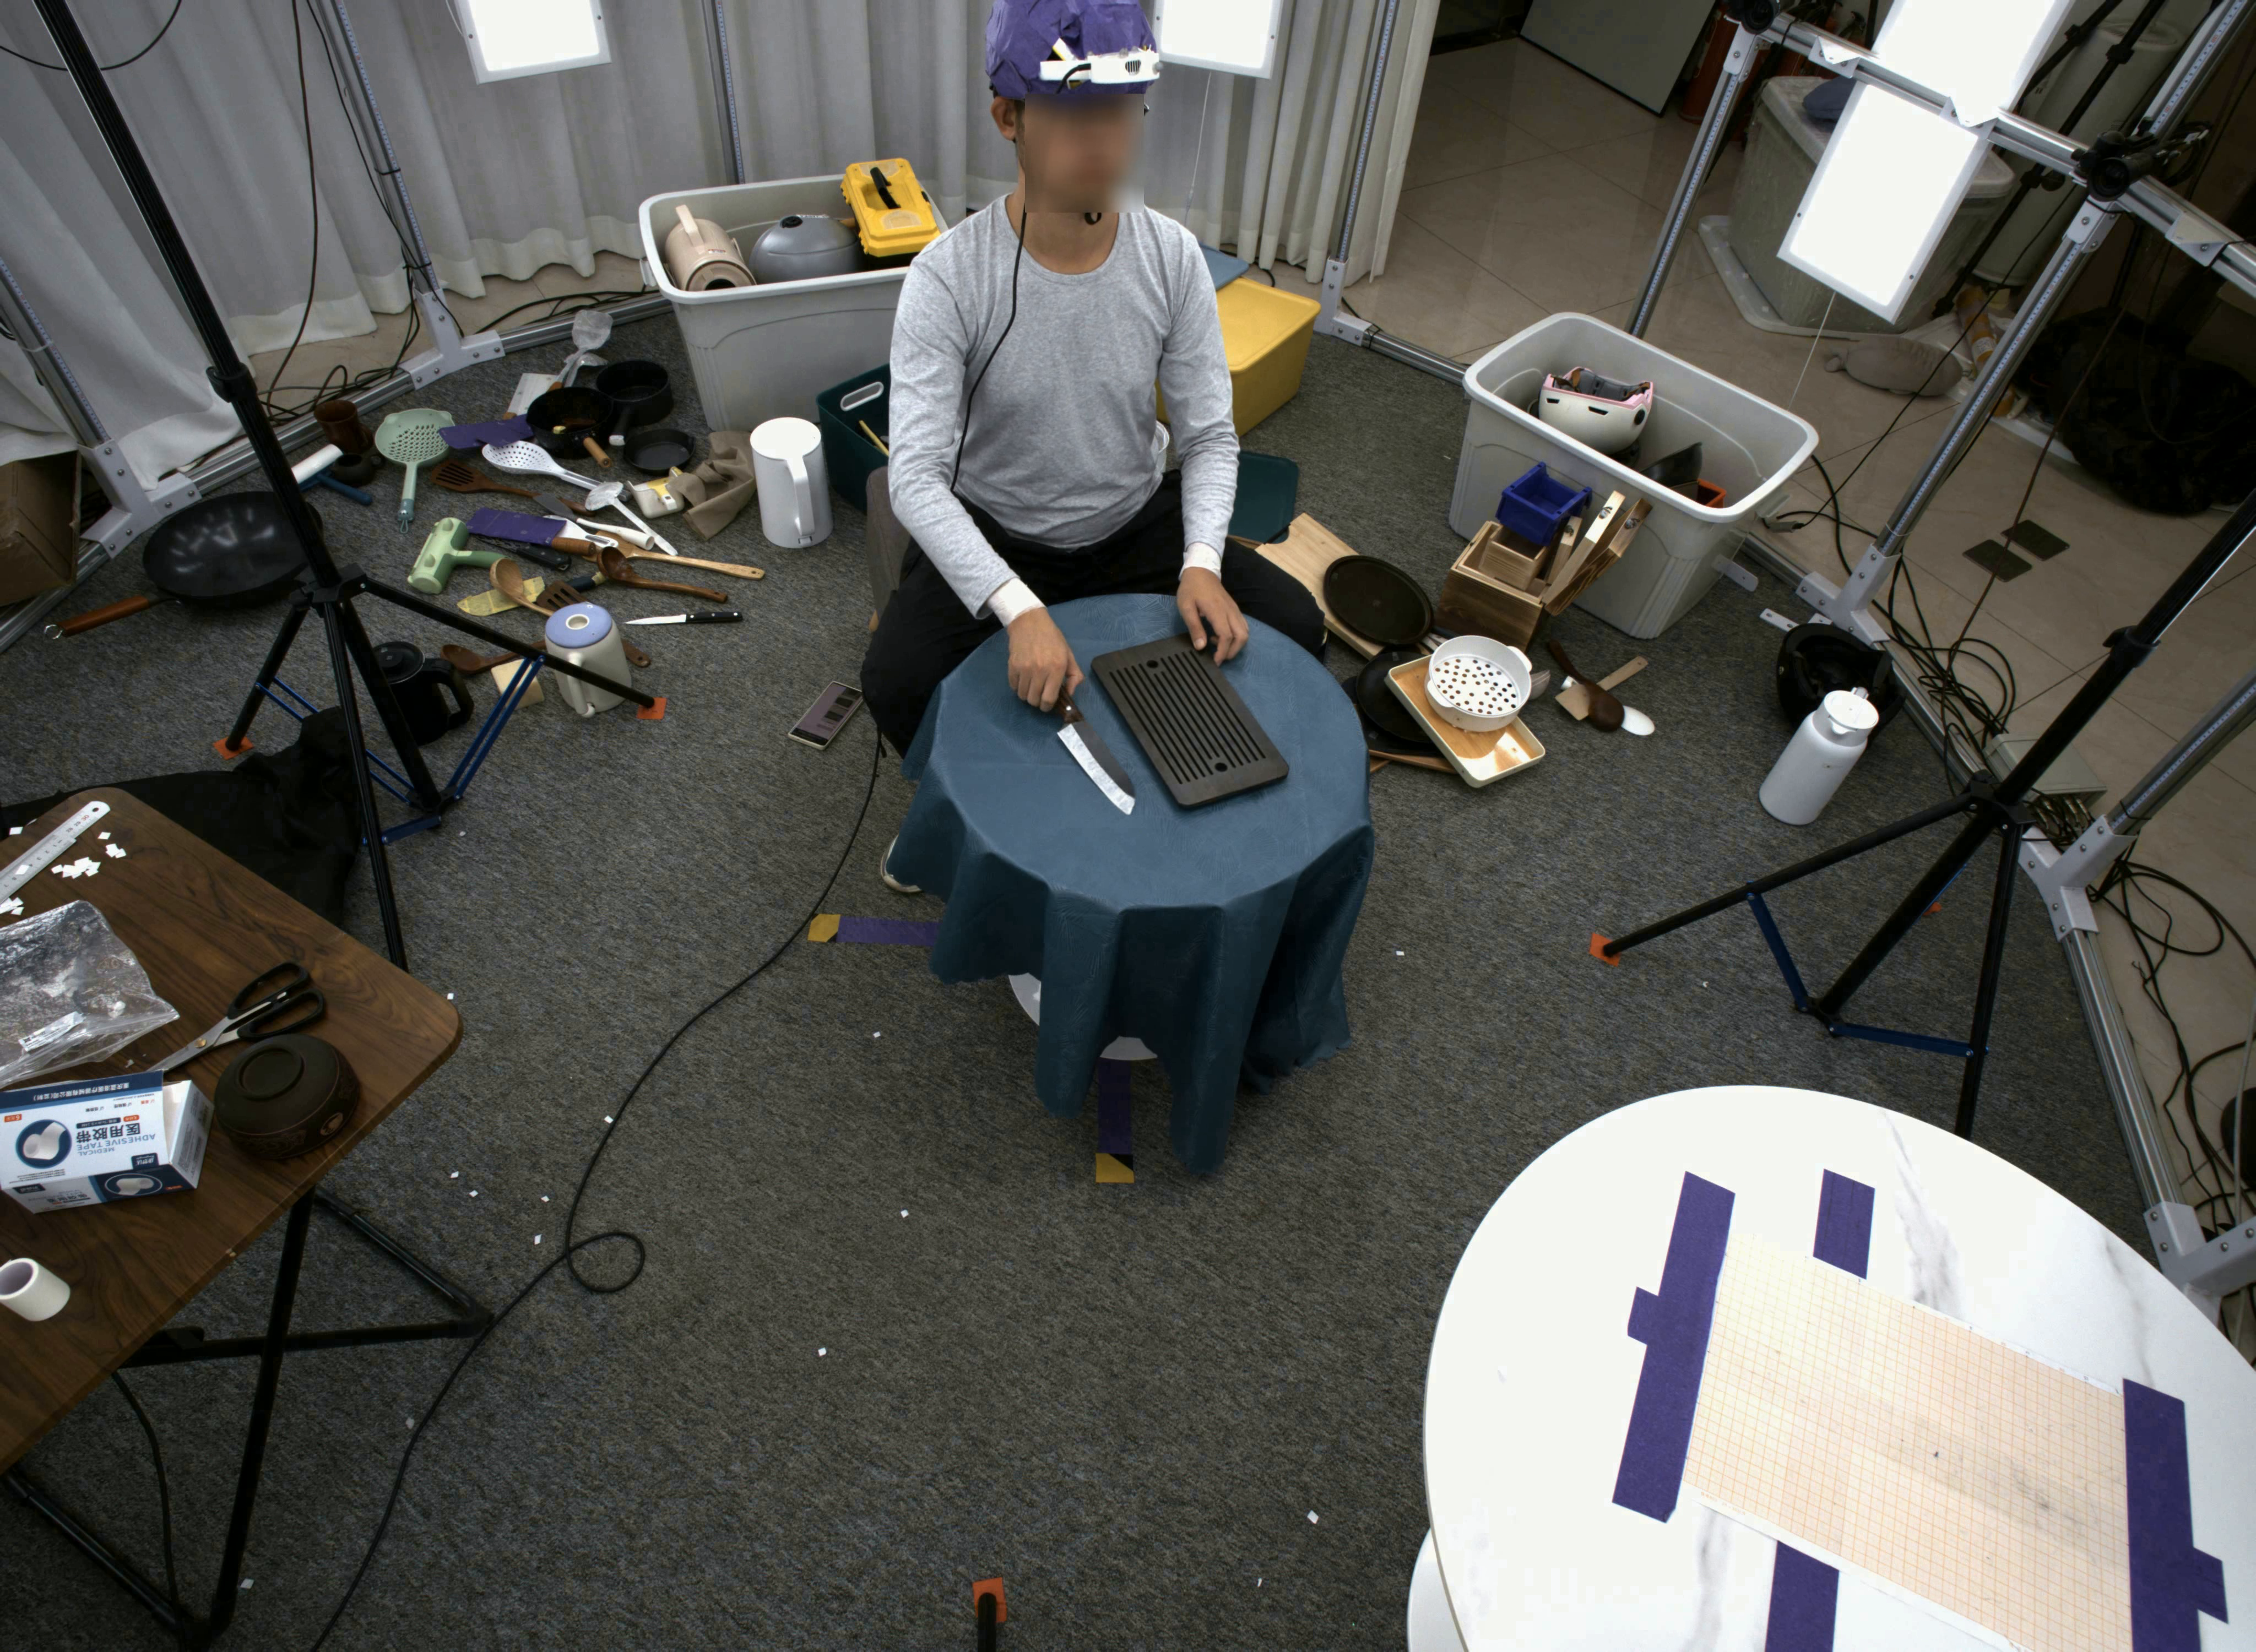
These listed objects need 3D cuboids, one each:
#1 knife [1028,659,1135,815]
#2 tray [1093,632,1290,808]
[{"bbox_3d":[-0.065,-0.124,1.751,0.050,0.019,0.295,-30,60,-4],"label":"knife"},{"bbox_3d":[0.084,-0.153,1.795,0.170,0.018,0.313,-17,52,-17],"label":"tray"}]
